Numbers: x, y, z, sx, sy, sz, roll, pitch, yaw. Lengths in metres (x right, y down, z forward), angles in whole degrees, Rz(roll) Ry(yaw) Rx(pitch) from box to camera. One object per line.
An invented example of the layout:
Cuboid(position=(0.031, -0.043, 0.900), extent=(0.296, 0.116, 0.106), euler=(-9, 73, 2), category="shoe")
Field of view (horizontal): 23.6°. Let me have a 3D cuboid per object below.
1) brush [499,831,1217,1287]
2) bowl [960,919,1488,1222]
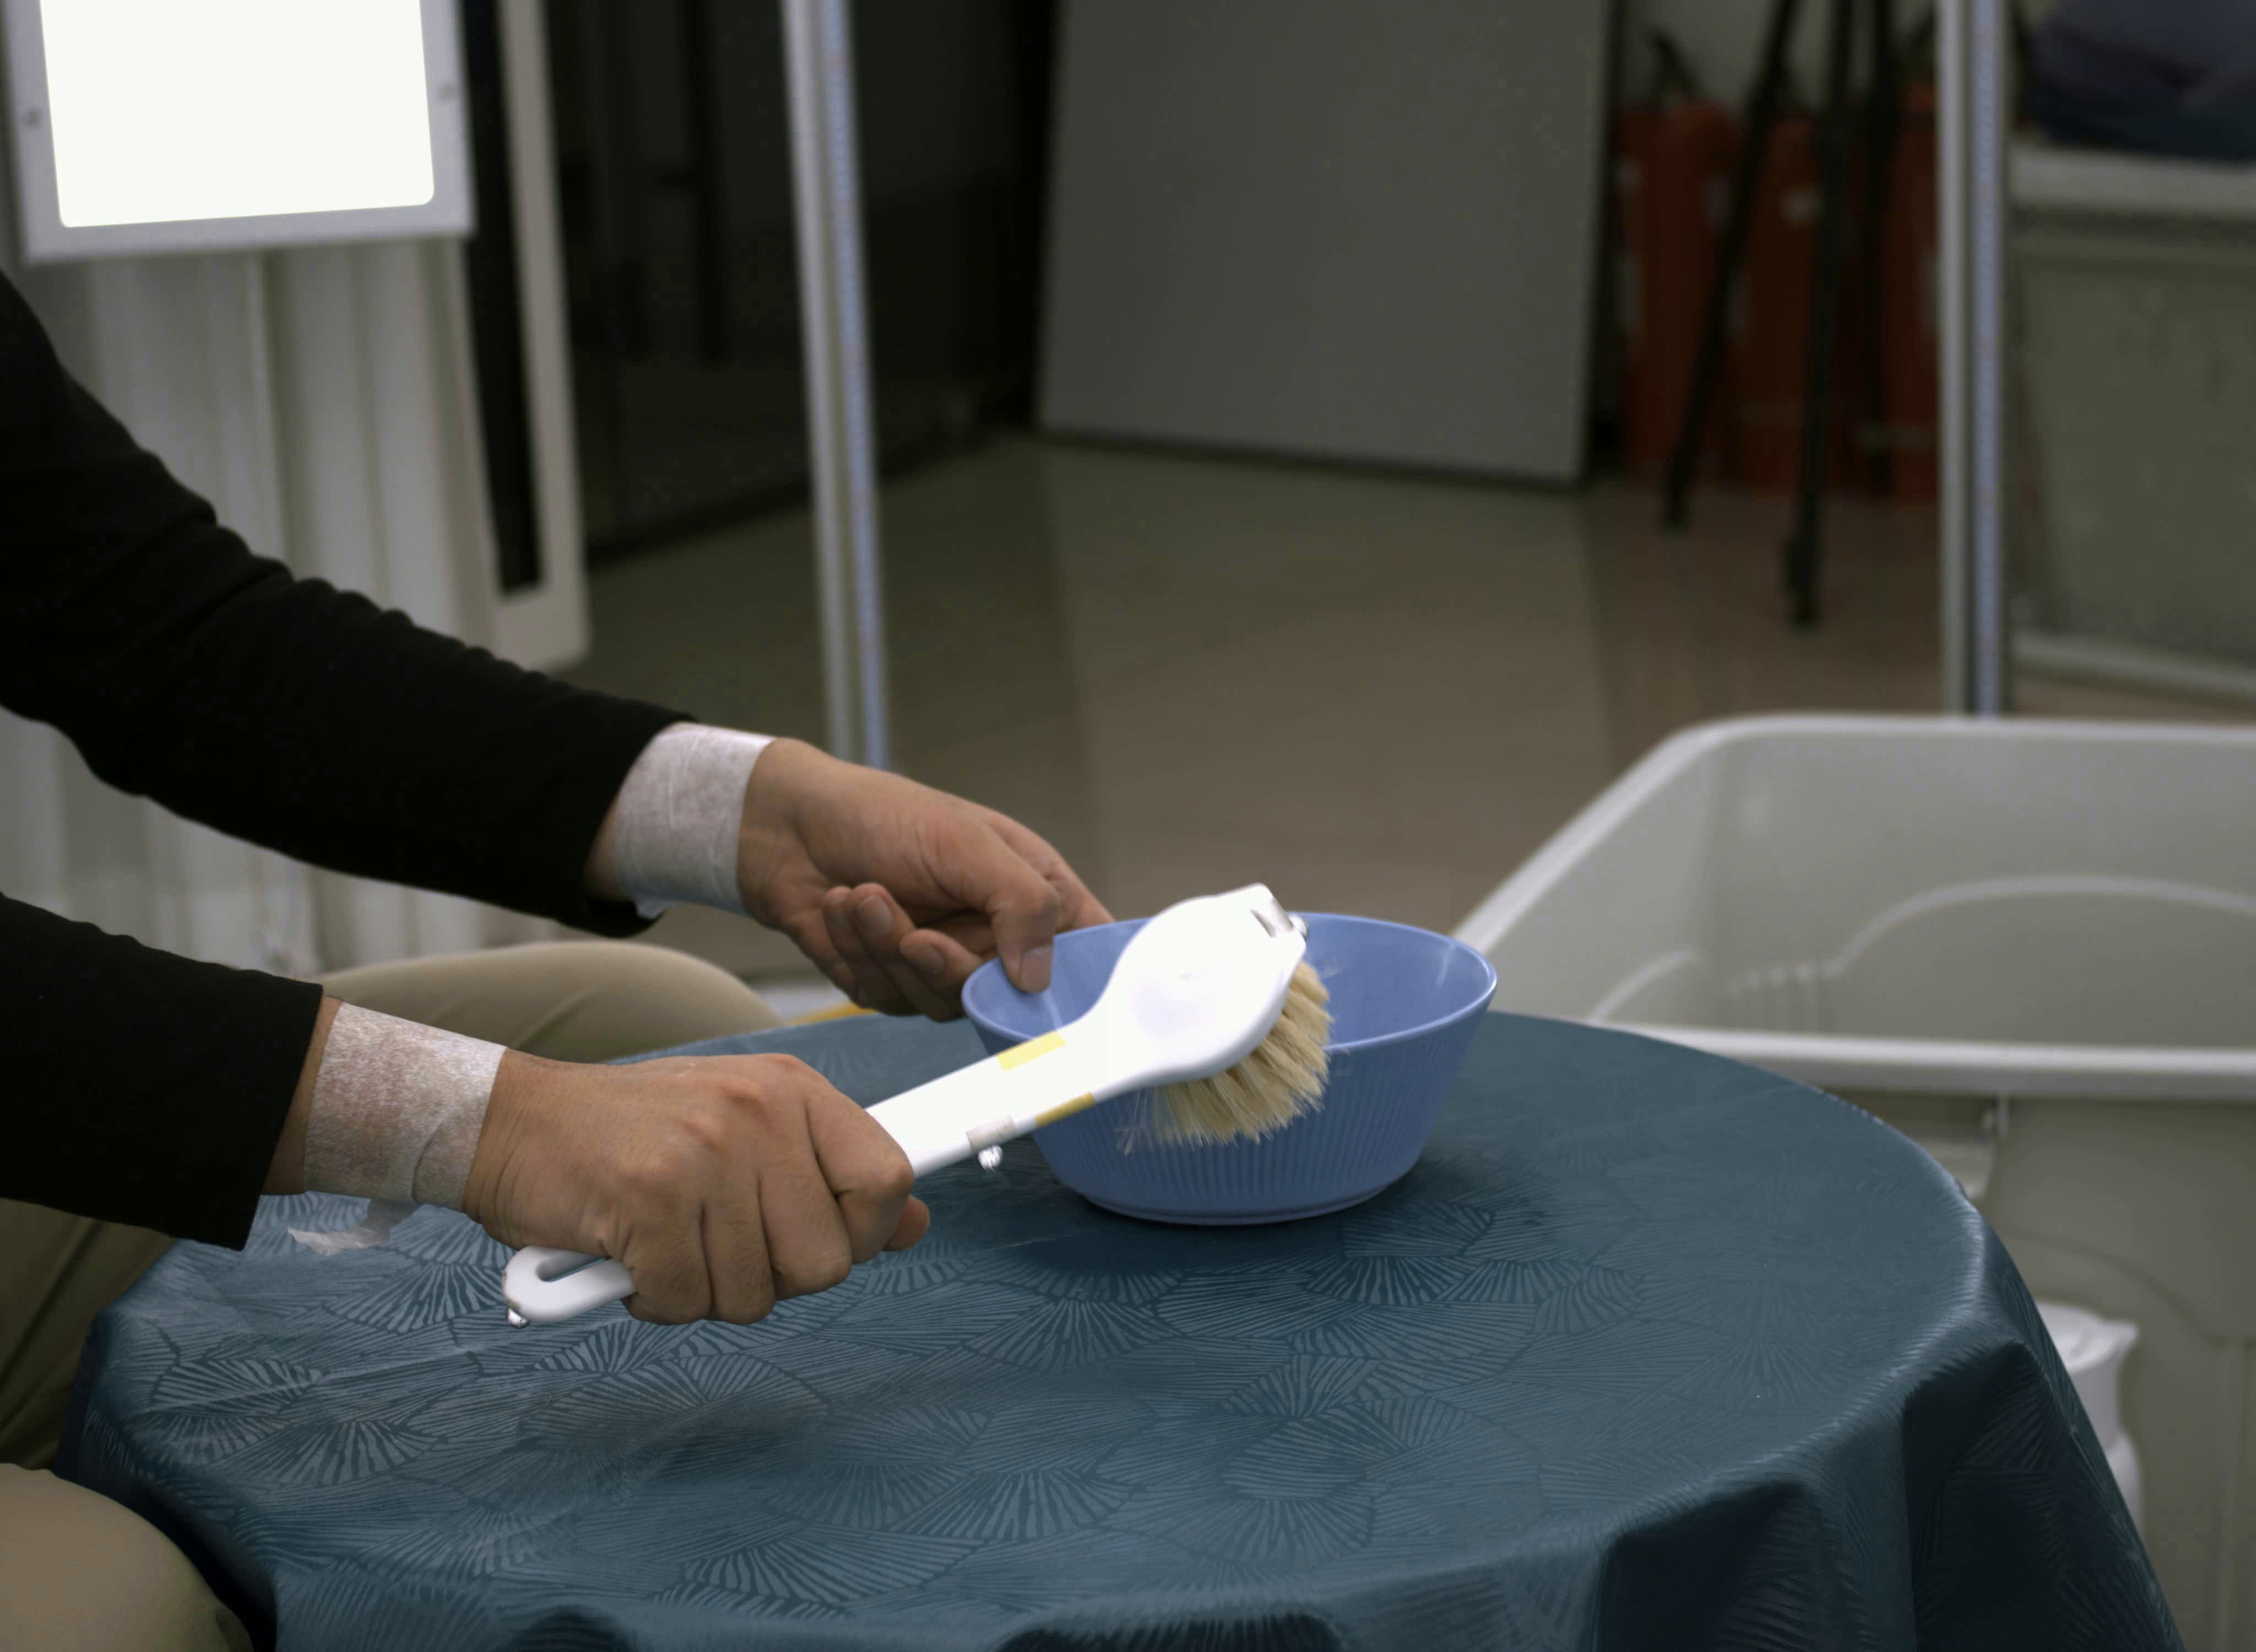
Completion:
Cuboid(position=(-0.078, 0.086, 1.624), extent=(0.262, 0.056, 0.069), euler=(-33, 36, -30), category="brush")
Cuboid(position=(0.033, 0.082, 1.764), extent=(0.174, 0.071, 0.176), euler=(-3, 12, 0), category="bowl")
